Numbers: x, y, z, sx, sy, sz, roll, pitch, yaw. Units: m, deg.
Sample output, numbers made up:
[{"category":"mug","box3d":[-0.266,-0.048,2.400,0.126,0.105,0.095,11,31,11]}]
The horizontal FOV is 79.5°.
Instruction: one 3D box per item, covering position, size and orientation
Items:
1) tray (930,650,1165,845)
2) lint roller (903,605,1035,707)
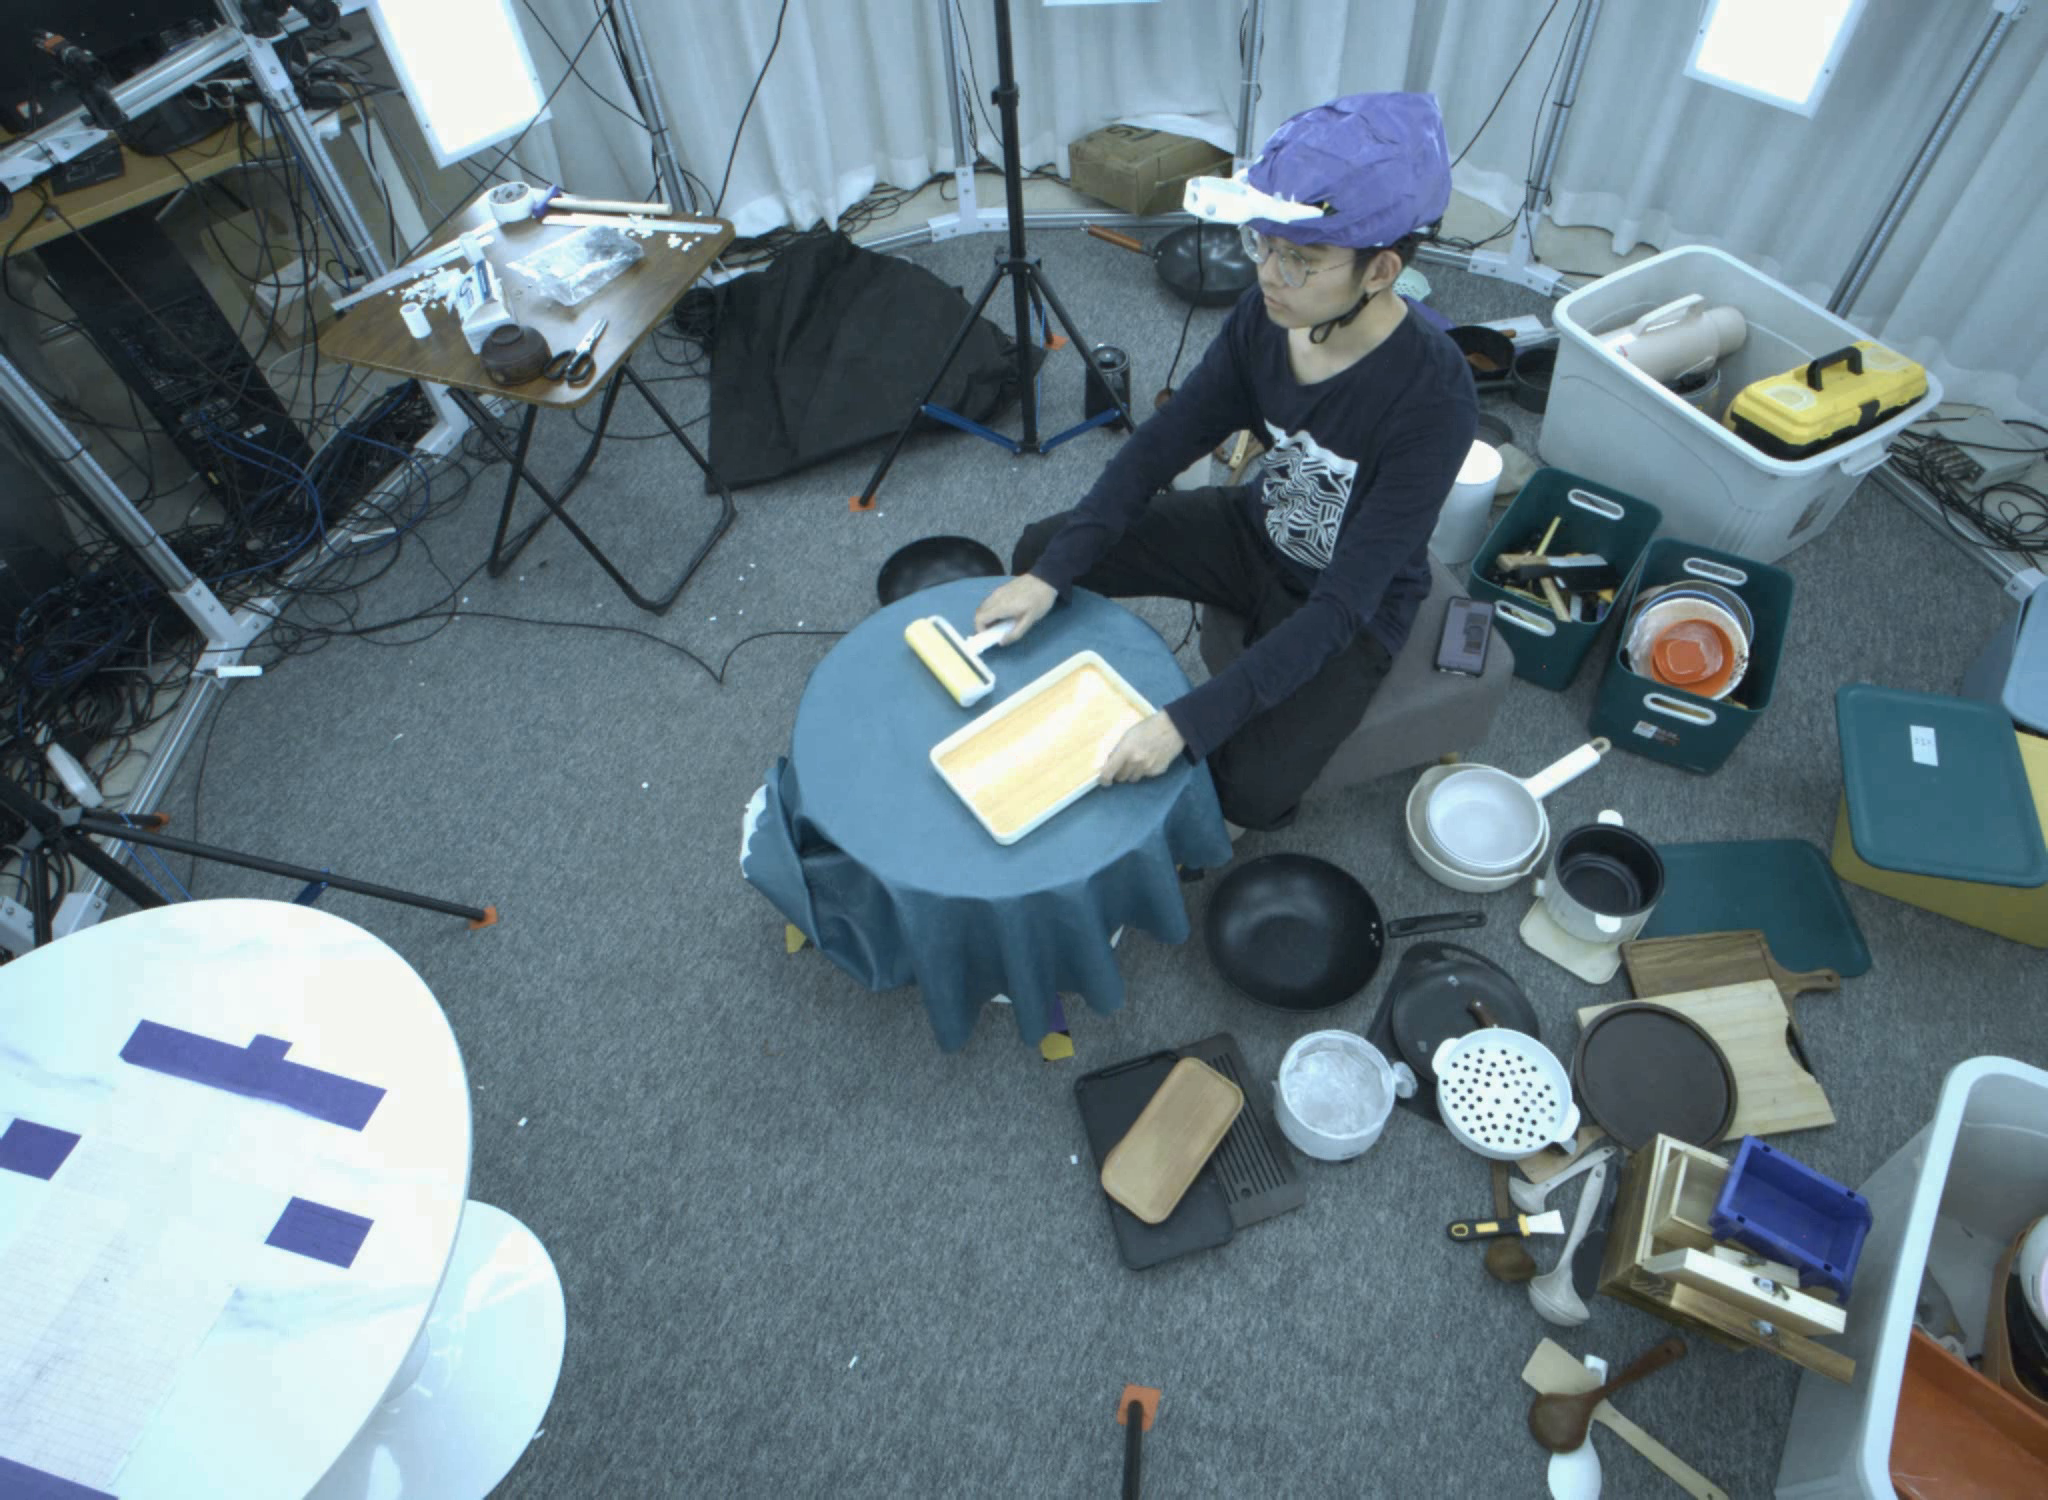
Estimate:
[{"category":"tray","box3d":[0.034,-0.008,1.771,0.302,0.028,0.188,-34,62,-17]},{"category":"lint roller","box3d":[-0.066,-0.175,1.880,0.193,0.052,0.171,-37,61,-11]}]
